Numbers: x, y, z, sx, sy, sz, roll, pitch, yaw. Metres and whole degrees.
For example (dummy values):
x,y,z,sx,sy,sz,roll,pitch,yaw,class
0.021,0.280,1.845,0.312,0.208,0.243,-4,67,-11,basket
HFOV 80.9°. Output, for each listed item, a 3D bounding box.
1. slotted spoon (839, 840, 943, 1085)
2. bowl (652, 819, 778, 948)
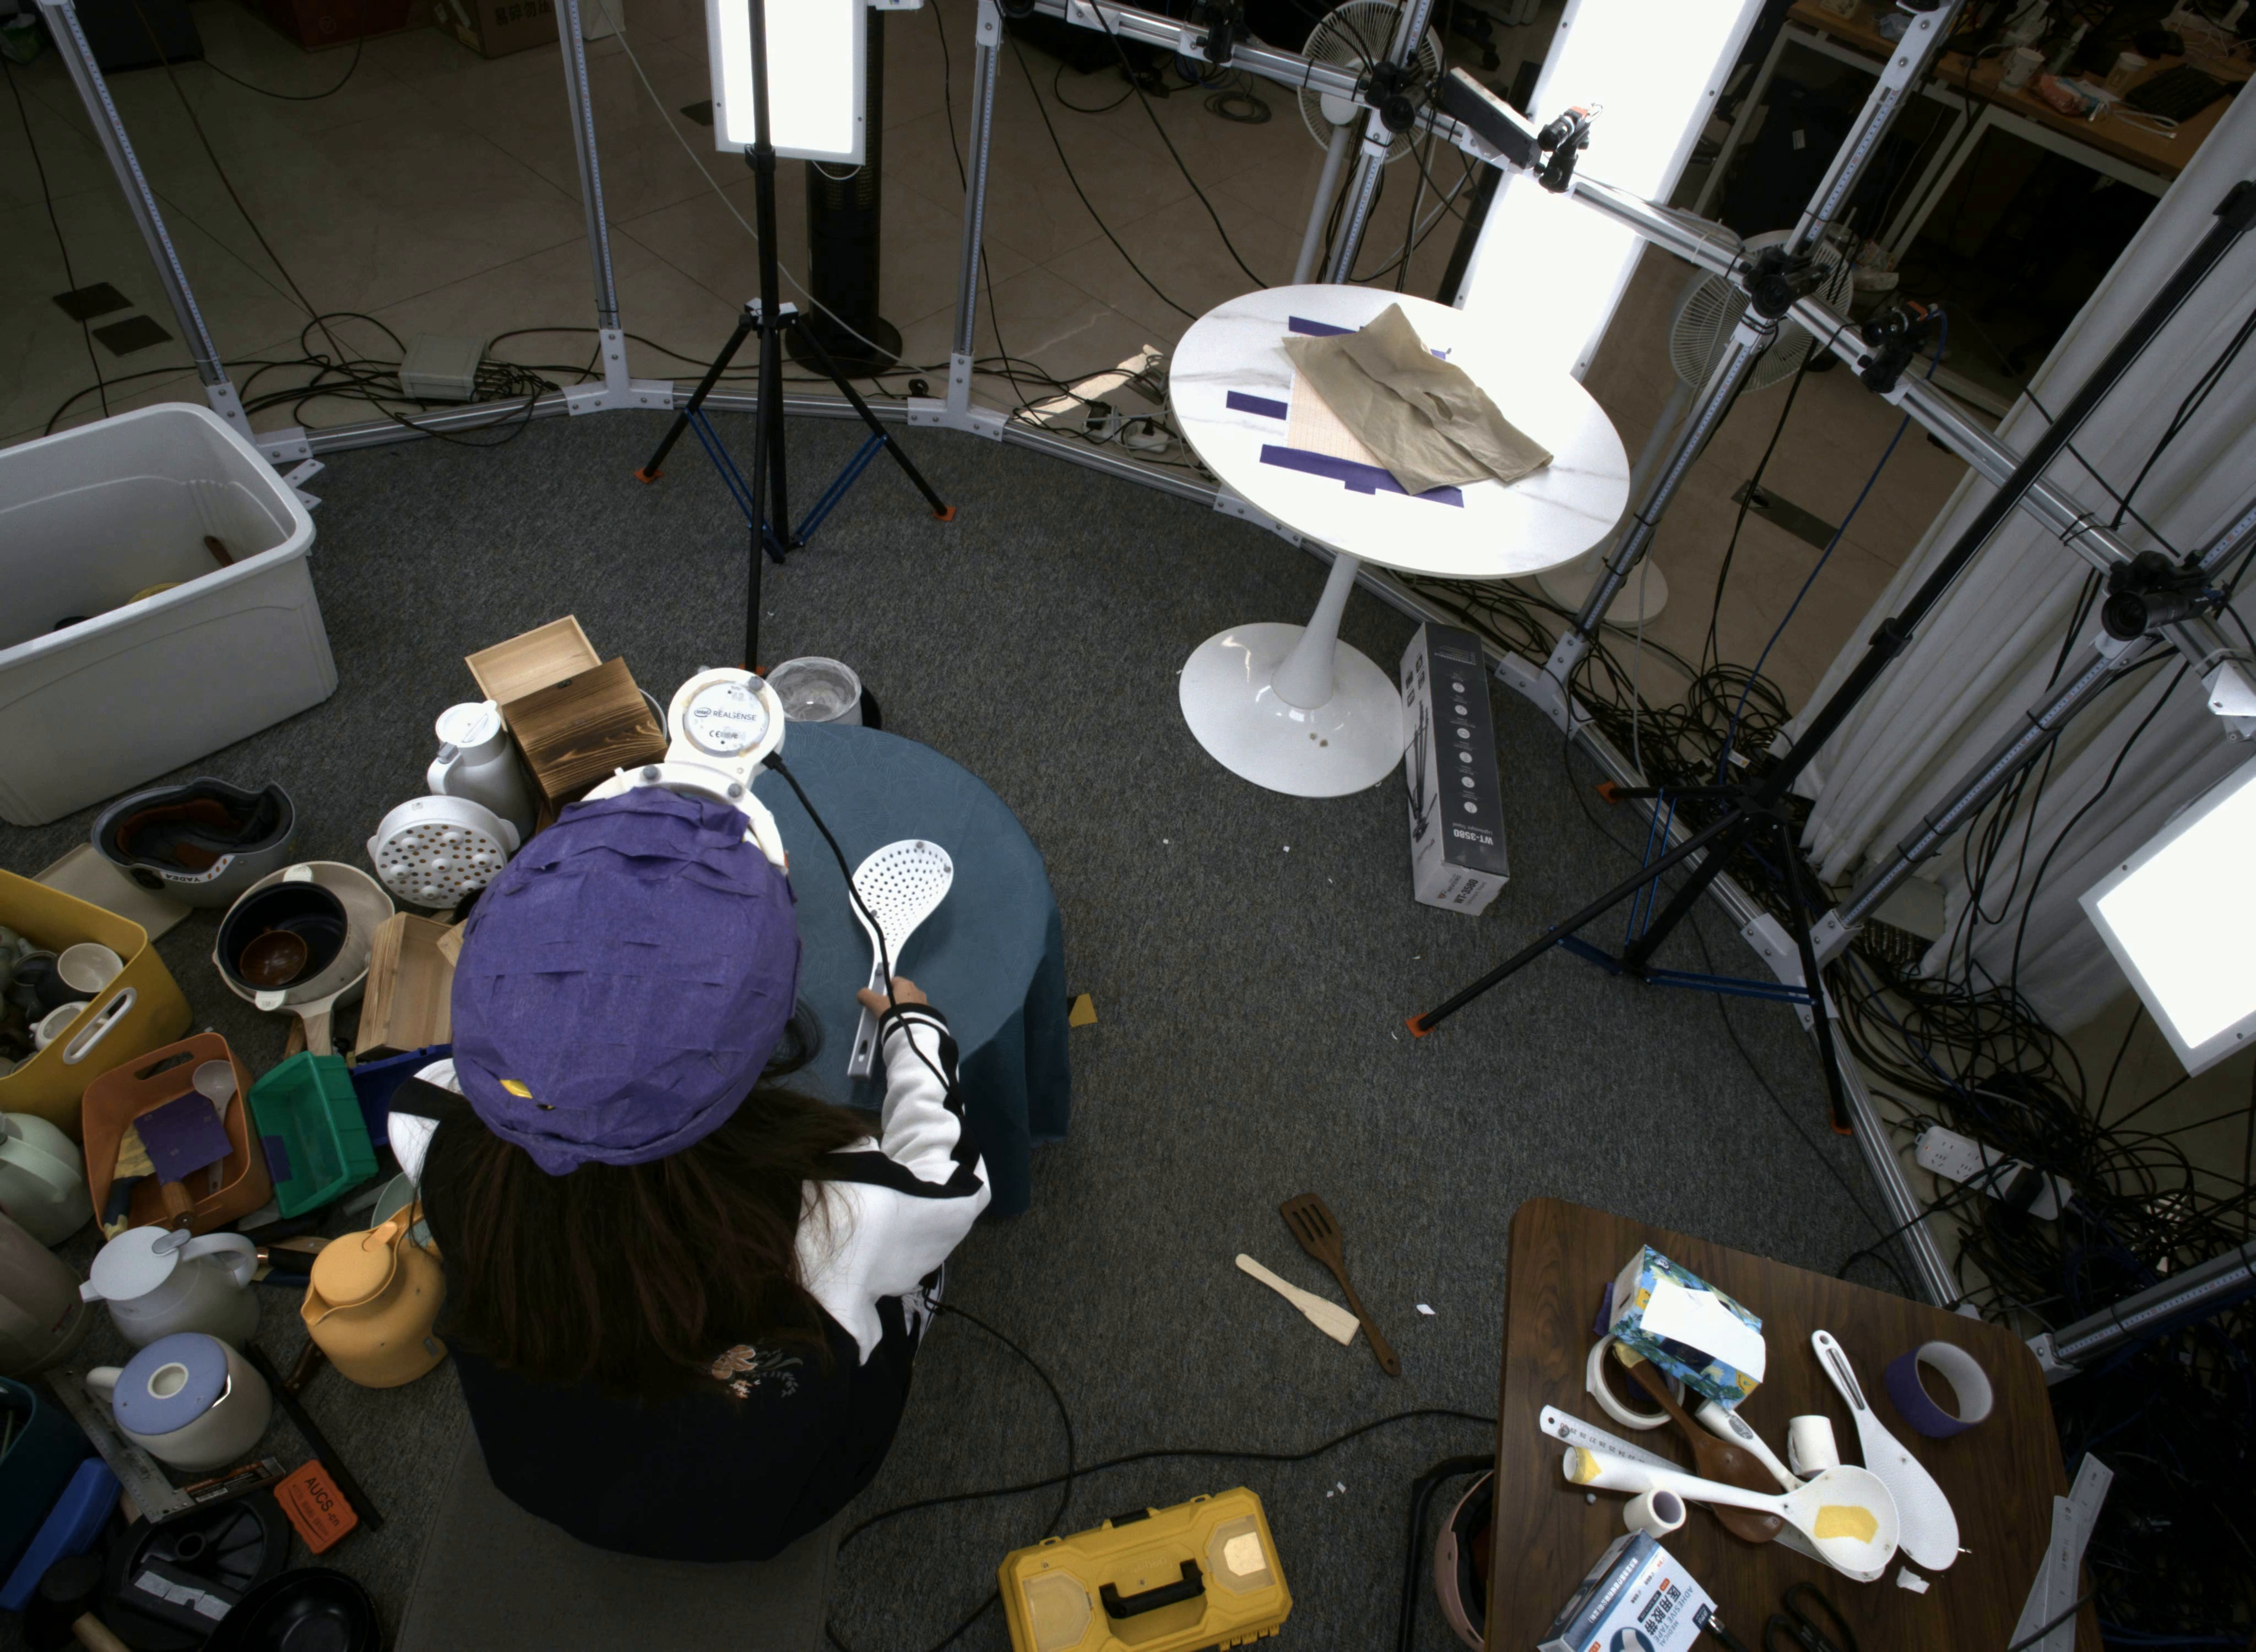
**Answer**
x,y,z,sx,sy,sz,roll,pitch,yaw,class
-0.304,0.157,1.585,0.133,0.047,0.343,-3,46,9,slotted spoon
-0.501,0.080,1.574,0.148,0.106,0.145,9,52,-10,bowl
